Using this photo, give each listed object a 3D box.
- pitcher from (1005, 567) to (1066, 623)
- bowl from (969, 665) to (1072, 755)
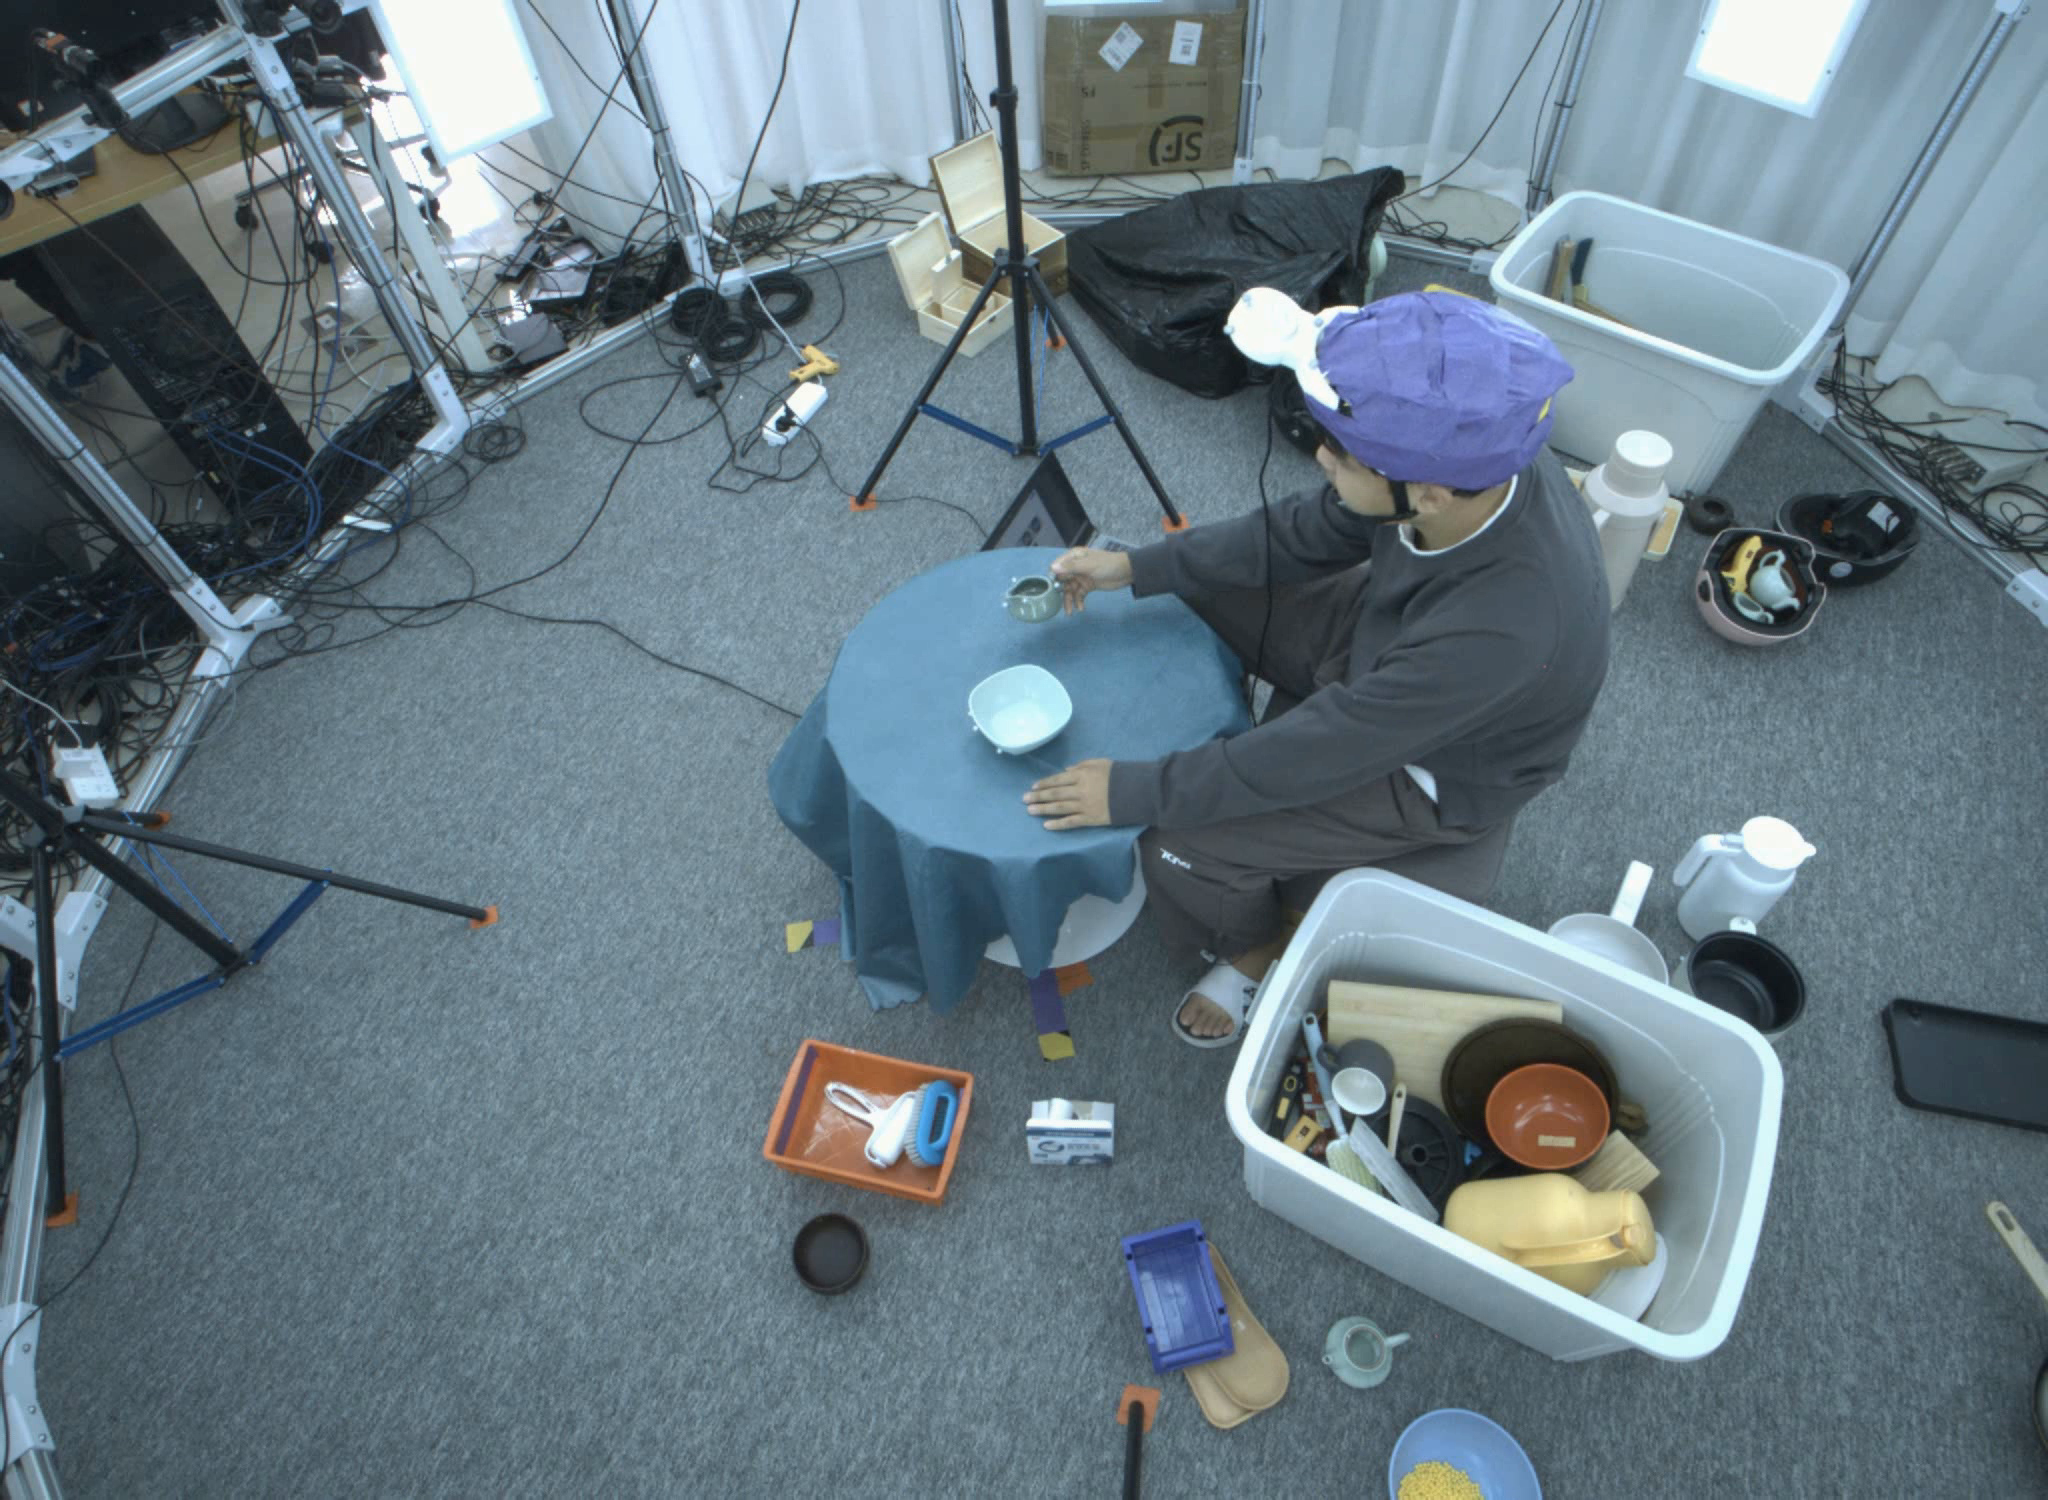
[{"bbox_3d":[0.018,-0.233,1.848,0.113,0.057,0.082,-31,51,-25],"label":"pitcher"},{"bbox_3d":[-0.004,-0.048,1.788,0.151,0.059,0.150,-1,55,3],"label":"bowl"}]
